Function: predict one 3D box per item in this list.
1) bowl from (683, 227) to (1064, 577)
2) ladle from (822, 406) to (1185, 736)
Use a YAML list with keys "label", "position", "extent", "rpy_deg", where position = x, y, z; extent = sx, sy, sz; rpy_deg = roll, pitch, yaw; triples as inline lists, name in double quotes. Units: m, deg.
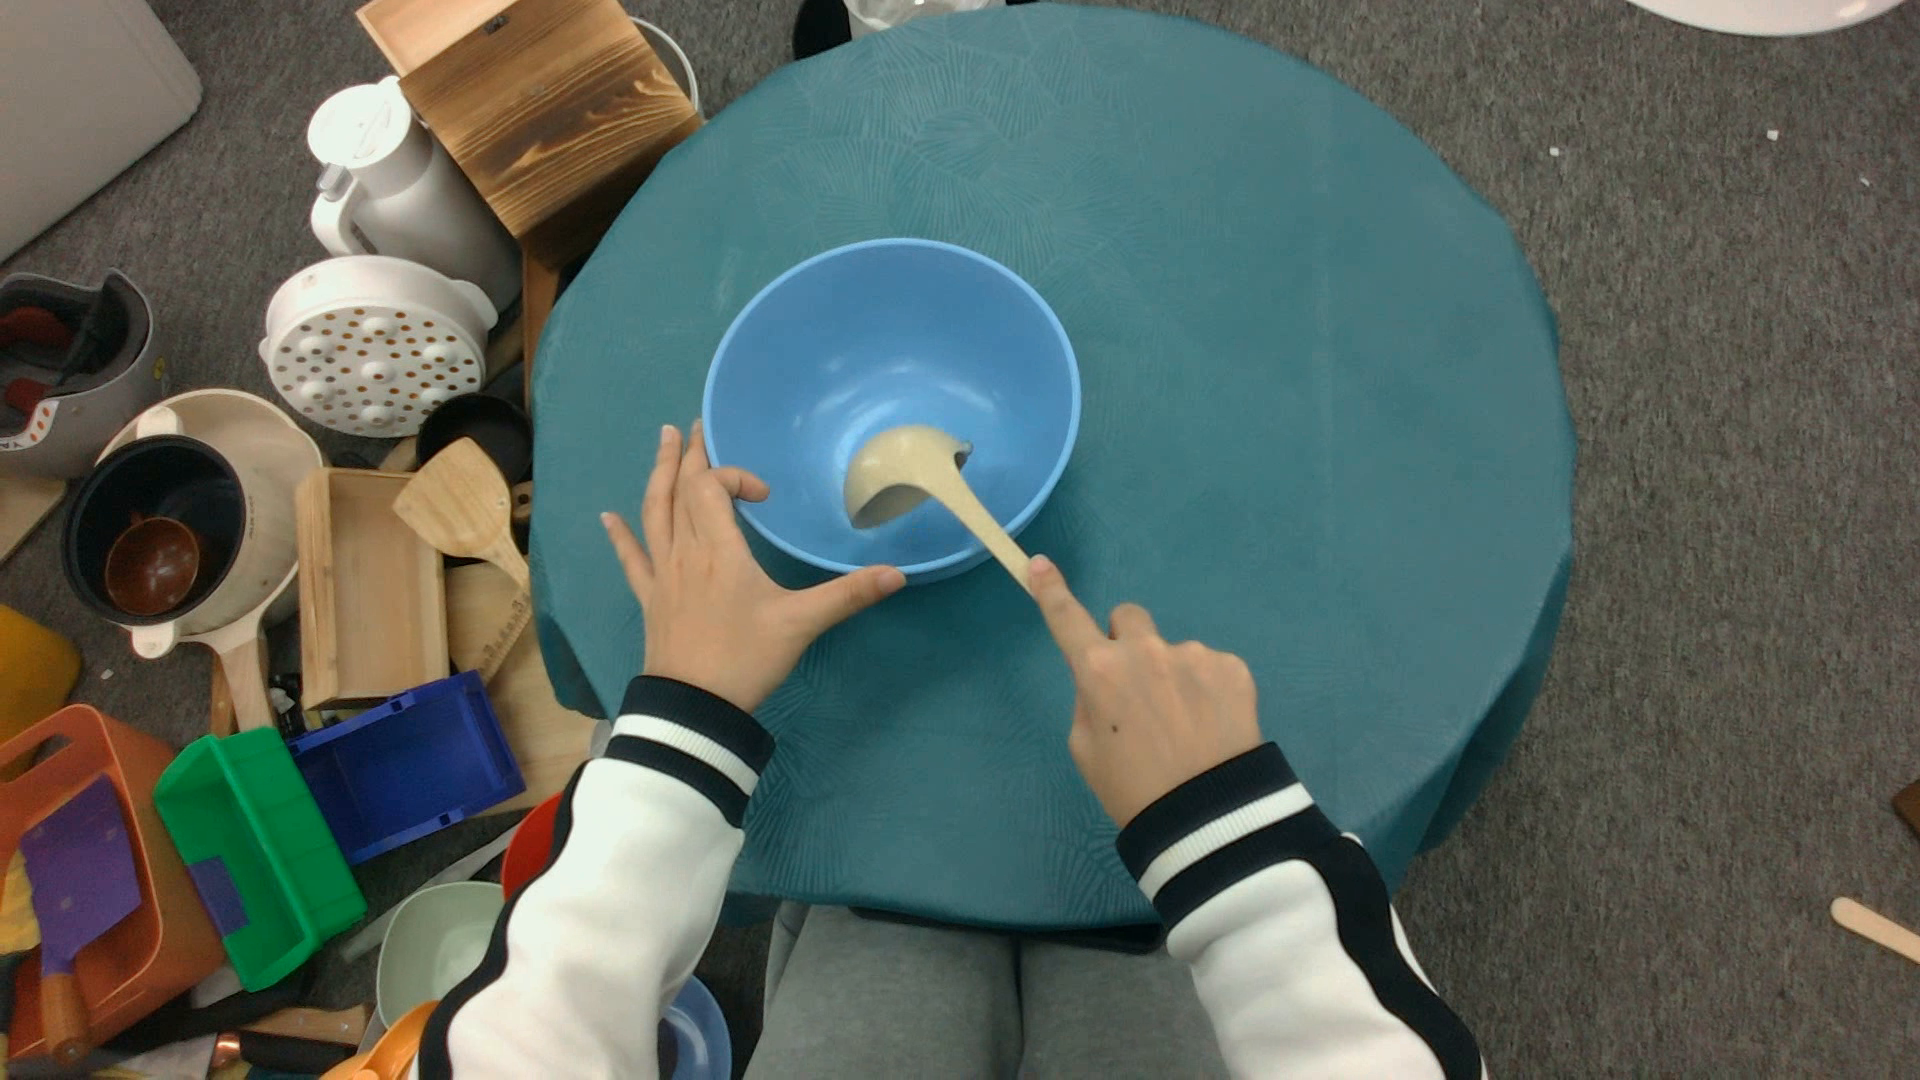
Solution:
- label: "bowl"
  position: [-0.043, -0.062, 0.750]
  extent: [0.196, 0.095, 0.197]
  rpy_deg: [0, 68, 1]
- label: "ladle"
  position: [0.018, 0.025, 0.665]
  extent: [0.072, 0.072, 0.255]
  rpy_deg: [-26, 53, -24]
